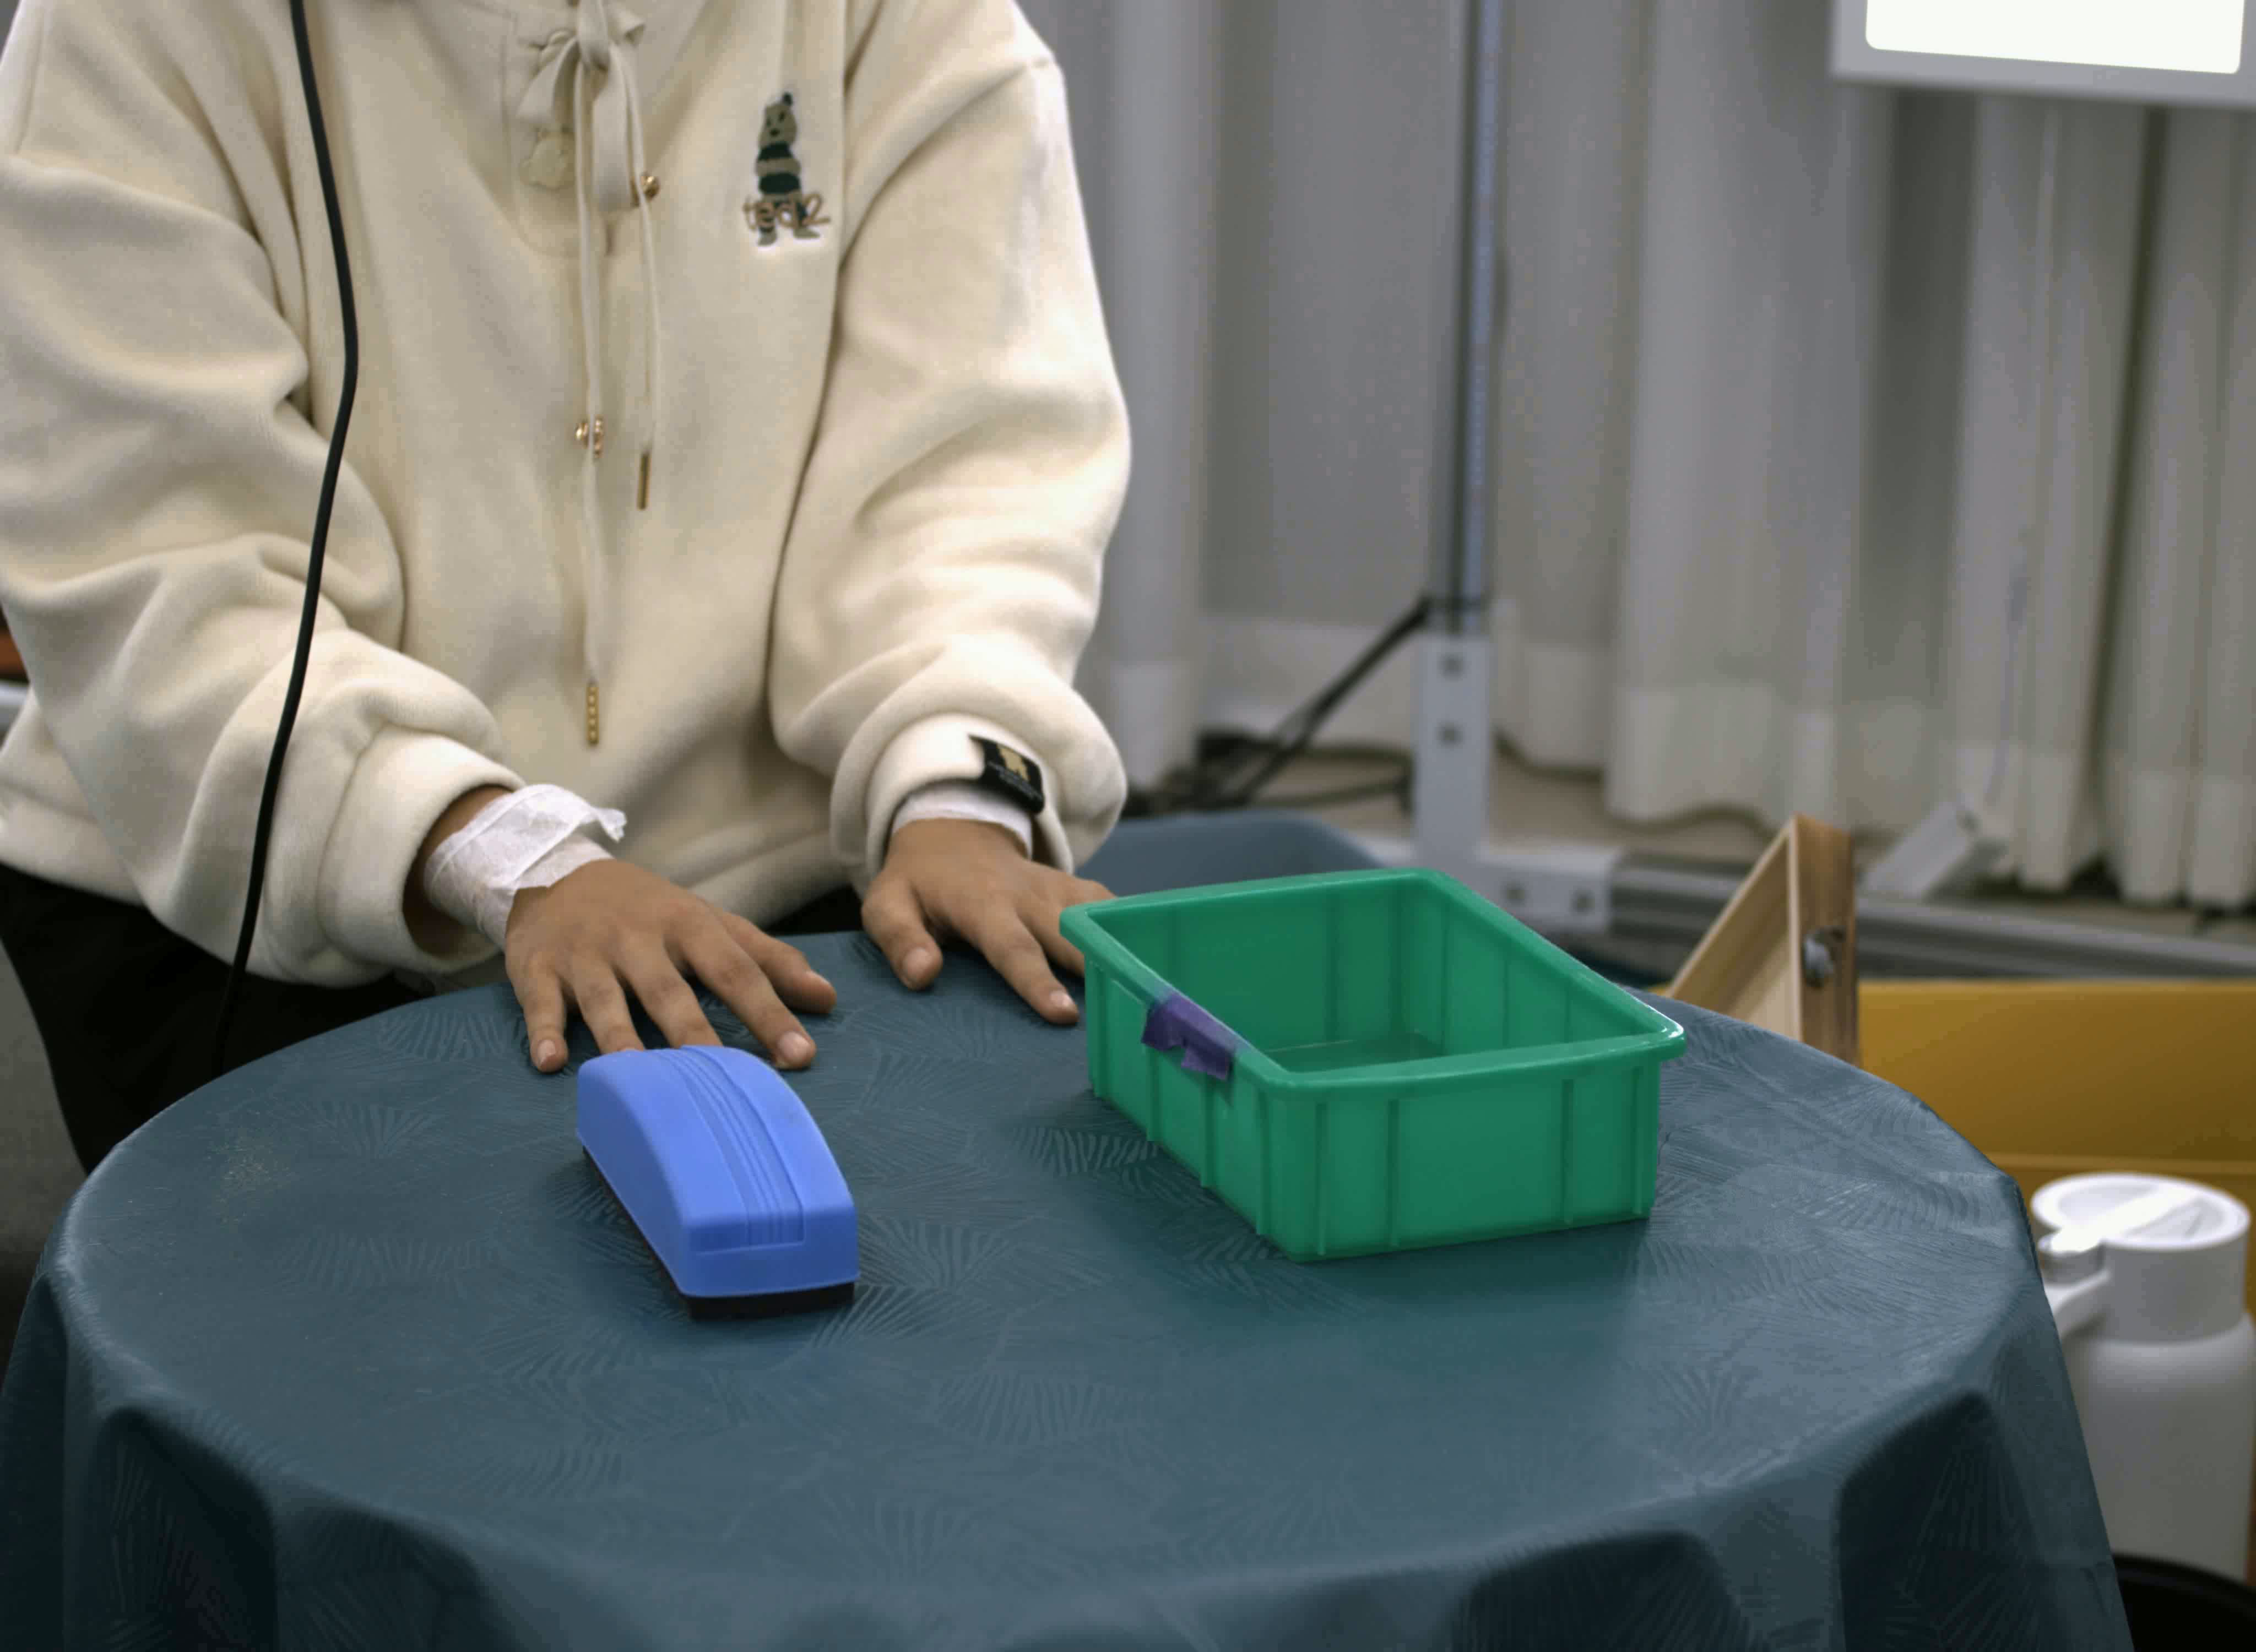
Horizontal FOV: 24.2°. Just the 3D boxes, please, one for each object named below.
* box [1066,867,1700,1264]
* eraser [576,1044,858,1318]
[{"bbox_3d":[0.076,0.074,1.648,0.139,0.066,0.208,-8,18,-21],"label":"box"},{"bbox_3d":[-0.125,0.099,1.577,0.054,0.048,0.160,-4,16,-17],"label":"eraser"}]
